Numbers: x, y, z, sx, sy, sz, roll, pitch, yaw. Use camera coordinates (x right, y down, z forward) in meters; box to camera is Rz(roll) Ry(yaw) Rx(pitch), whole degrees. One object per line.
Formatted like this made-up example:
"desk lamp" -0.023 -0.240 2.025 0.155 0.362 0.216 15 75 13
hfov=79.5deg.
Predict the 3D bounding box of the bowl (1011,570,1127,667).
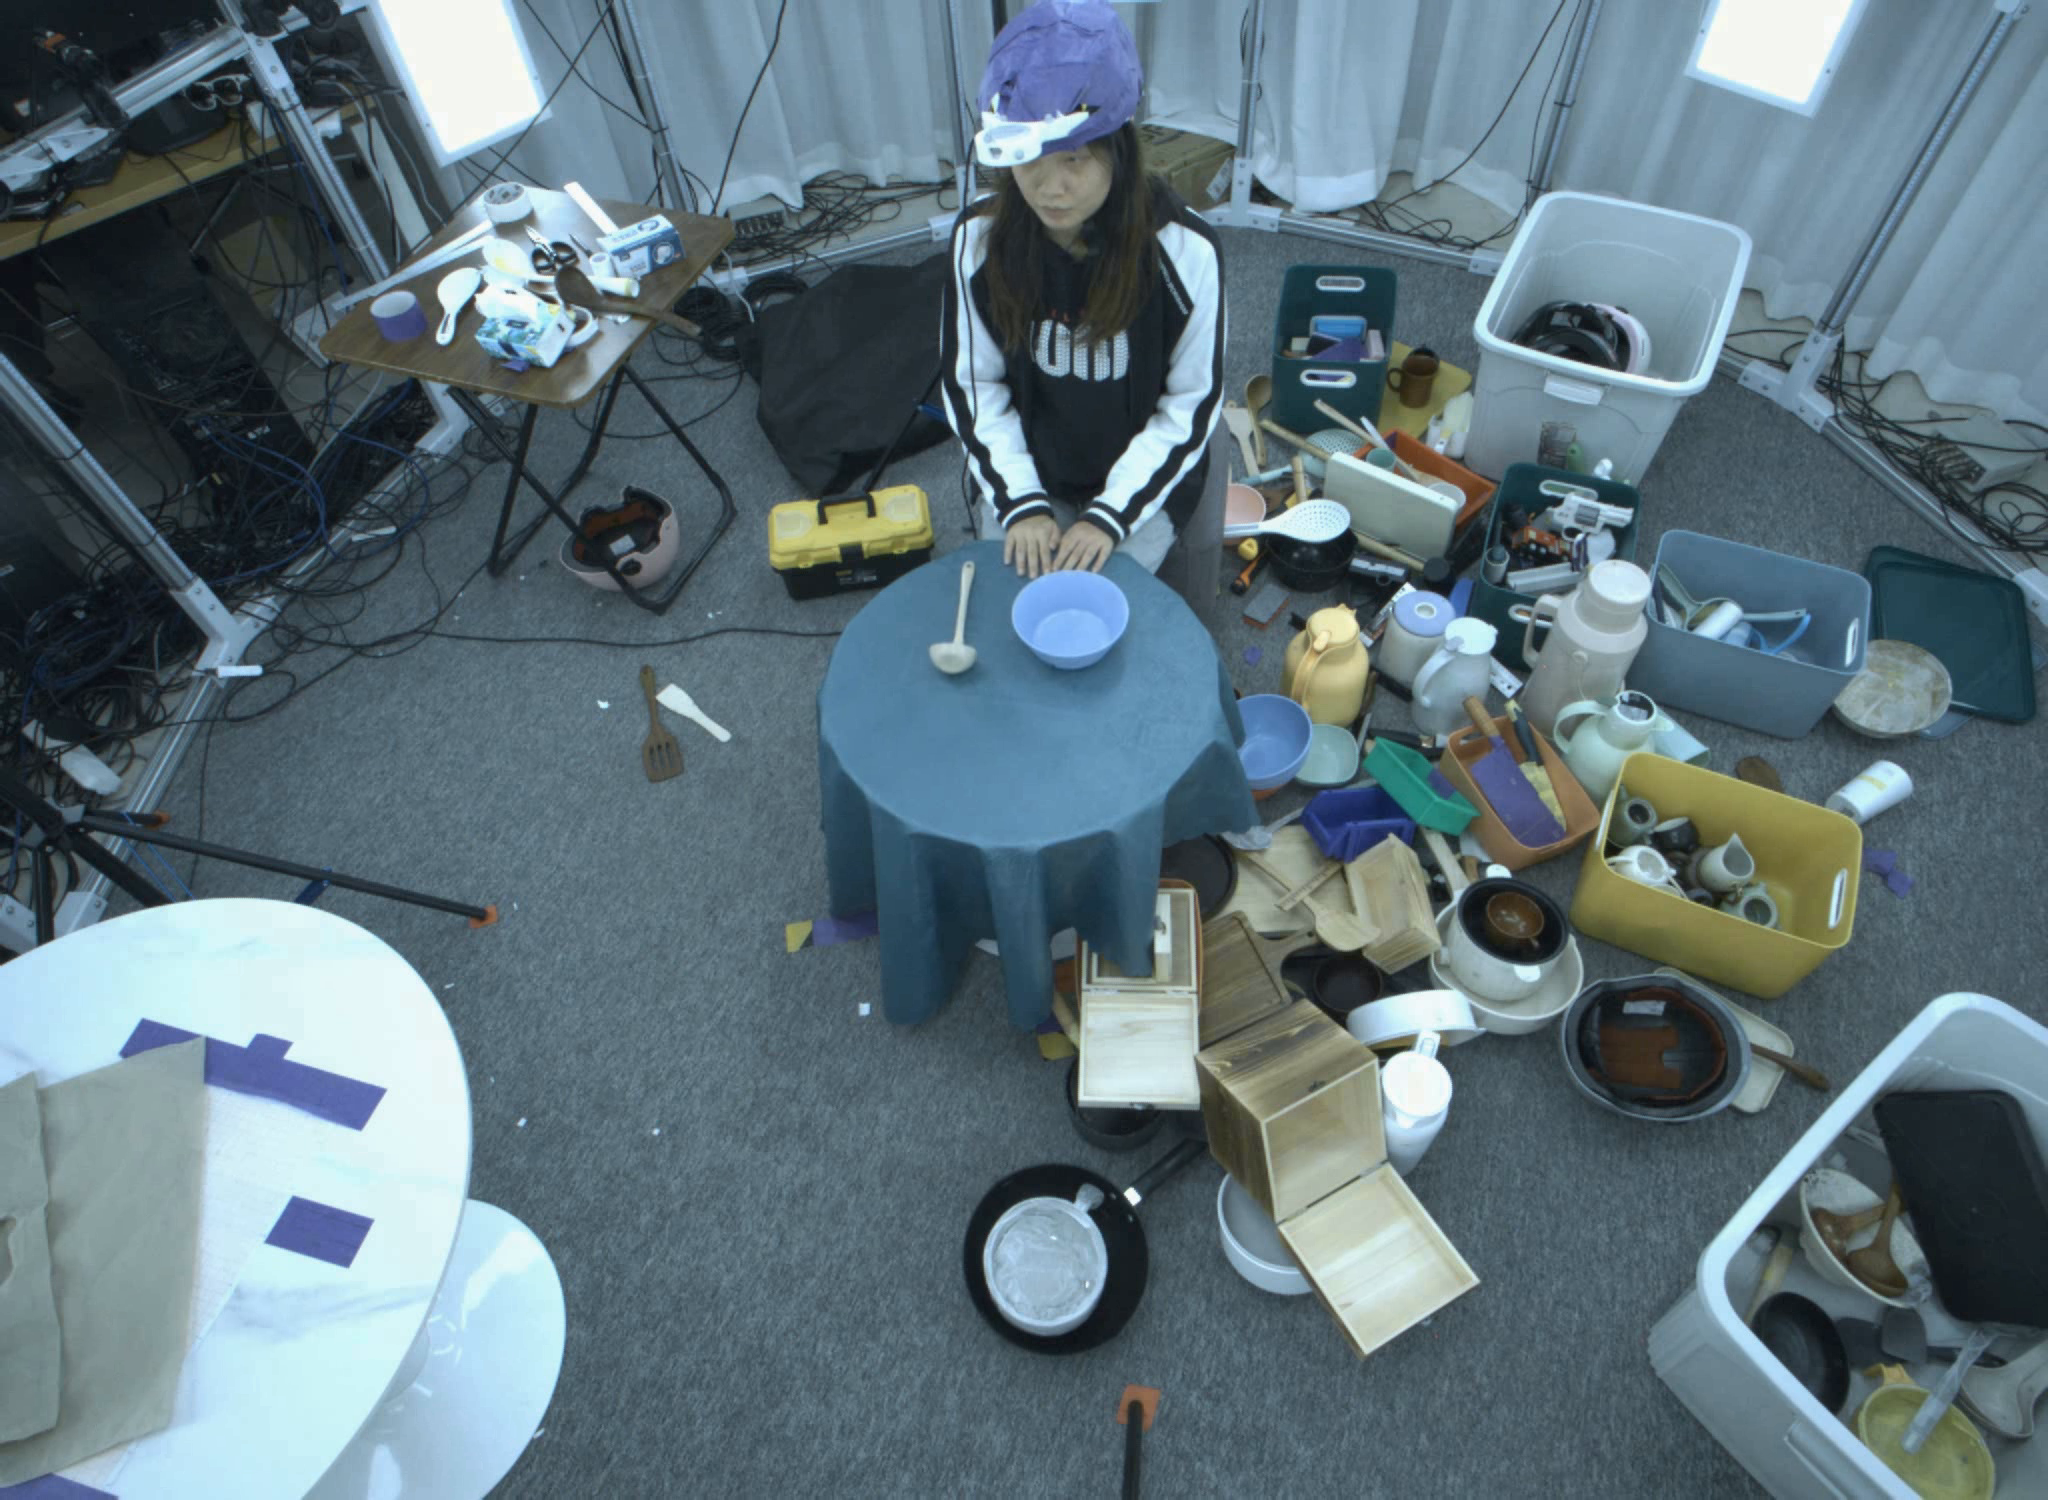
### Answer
"bowl" 0.068 -0.191 1.877 0.176 0.071 0.174 0 55 1

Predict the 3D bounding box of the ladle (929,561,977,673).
"ladle" -0.104 -0.229 1.908 0.072 0.073 0.252 0 55 3
